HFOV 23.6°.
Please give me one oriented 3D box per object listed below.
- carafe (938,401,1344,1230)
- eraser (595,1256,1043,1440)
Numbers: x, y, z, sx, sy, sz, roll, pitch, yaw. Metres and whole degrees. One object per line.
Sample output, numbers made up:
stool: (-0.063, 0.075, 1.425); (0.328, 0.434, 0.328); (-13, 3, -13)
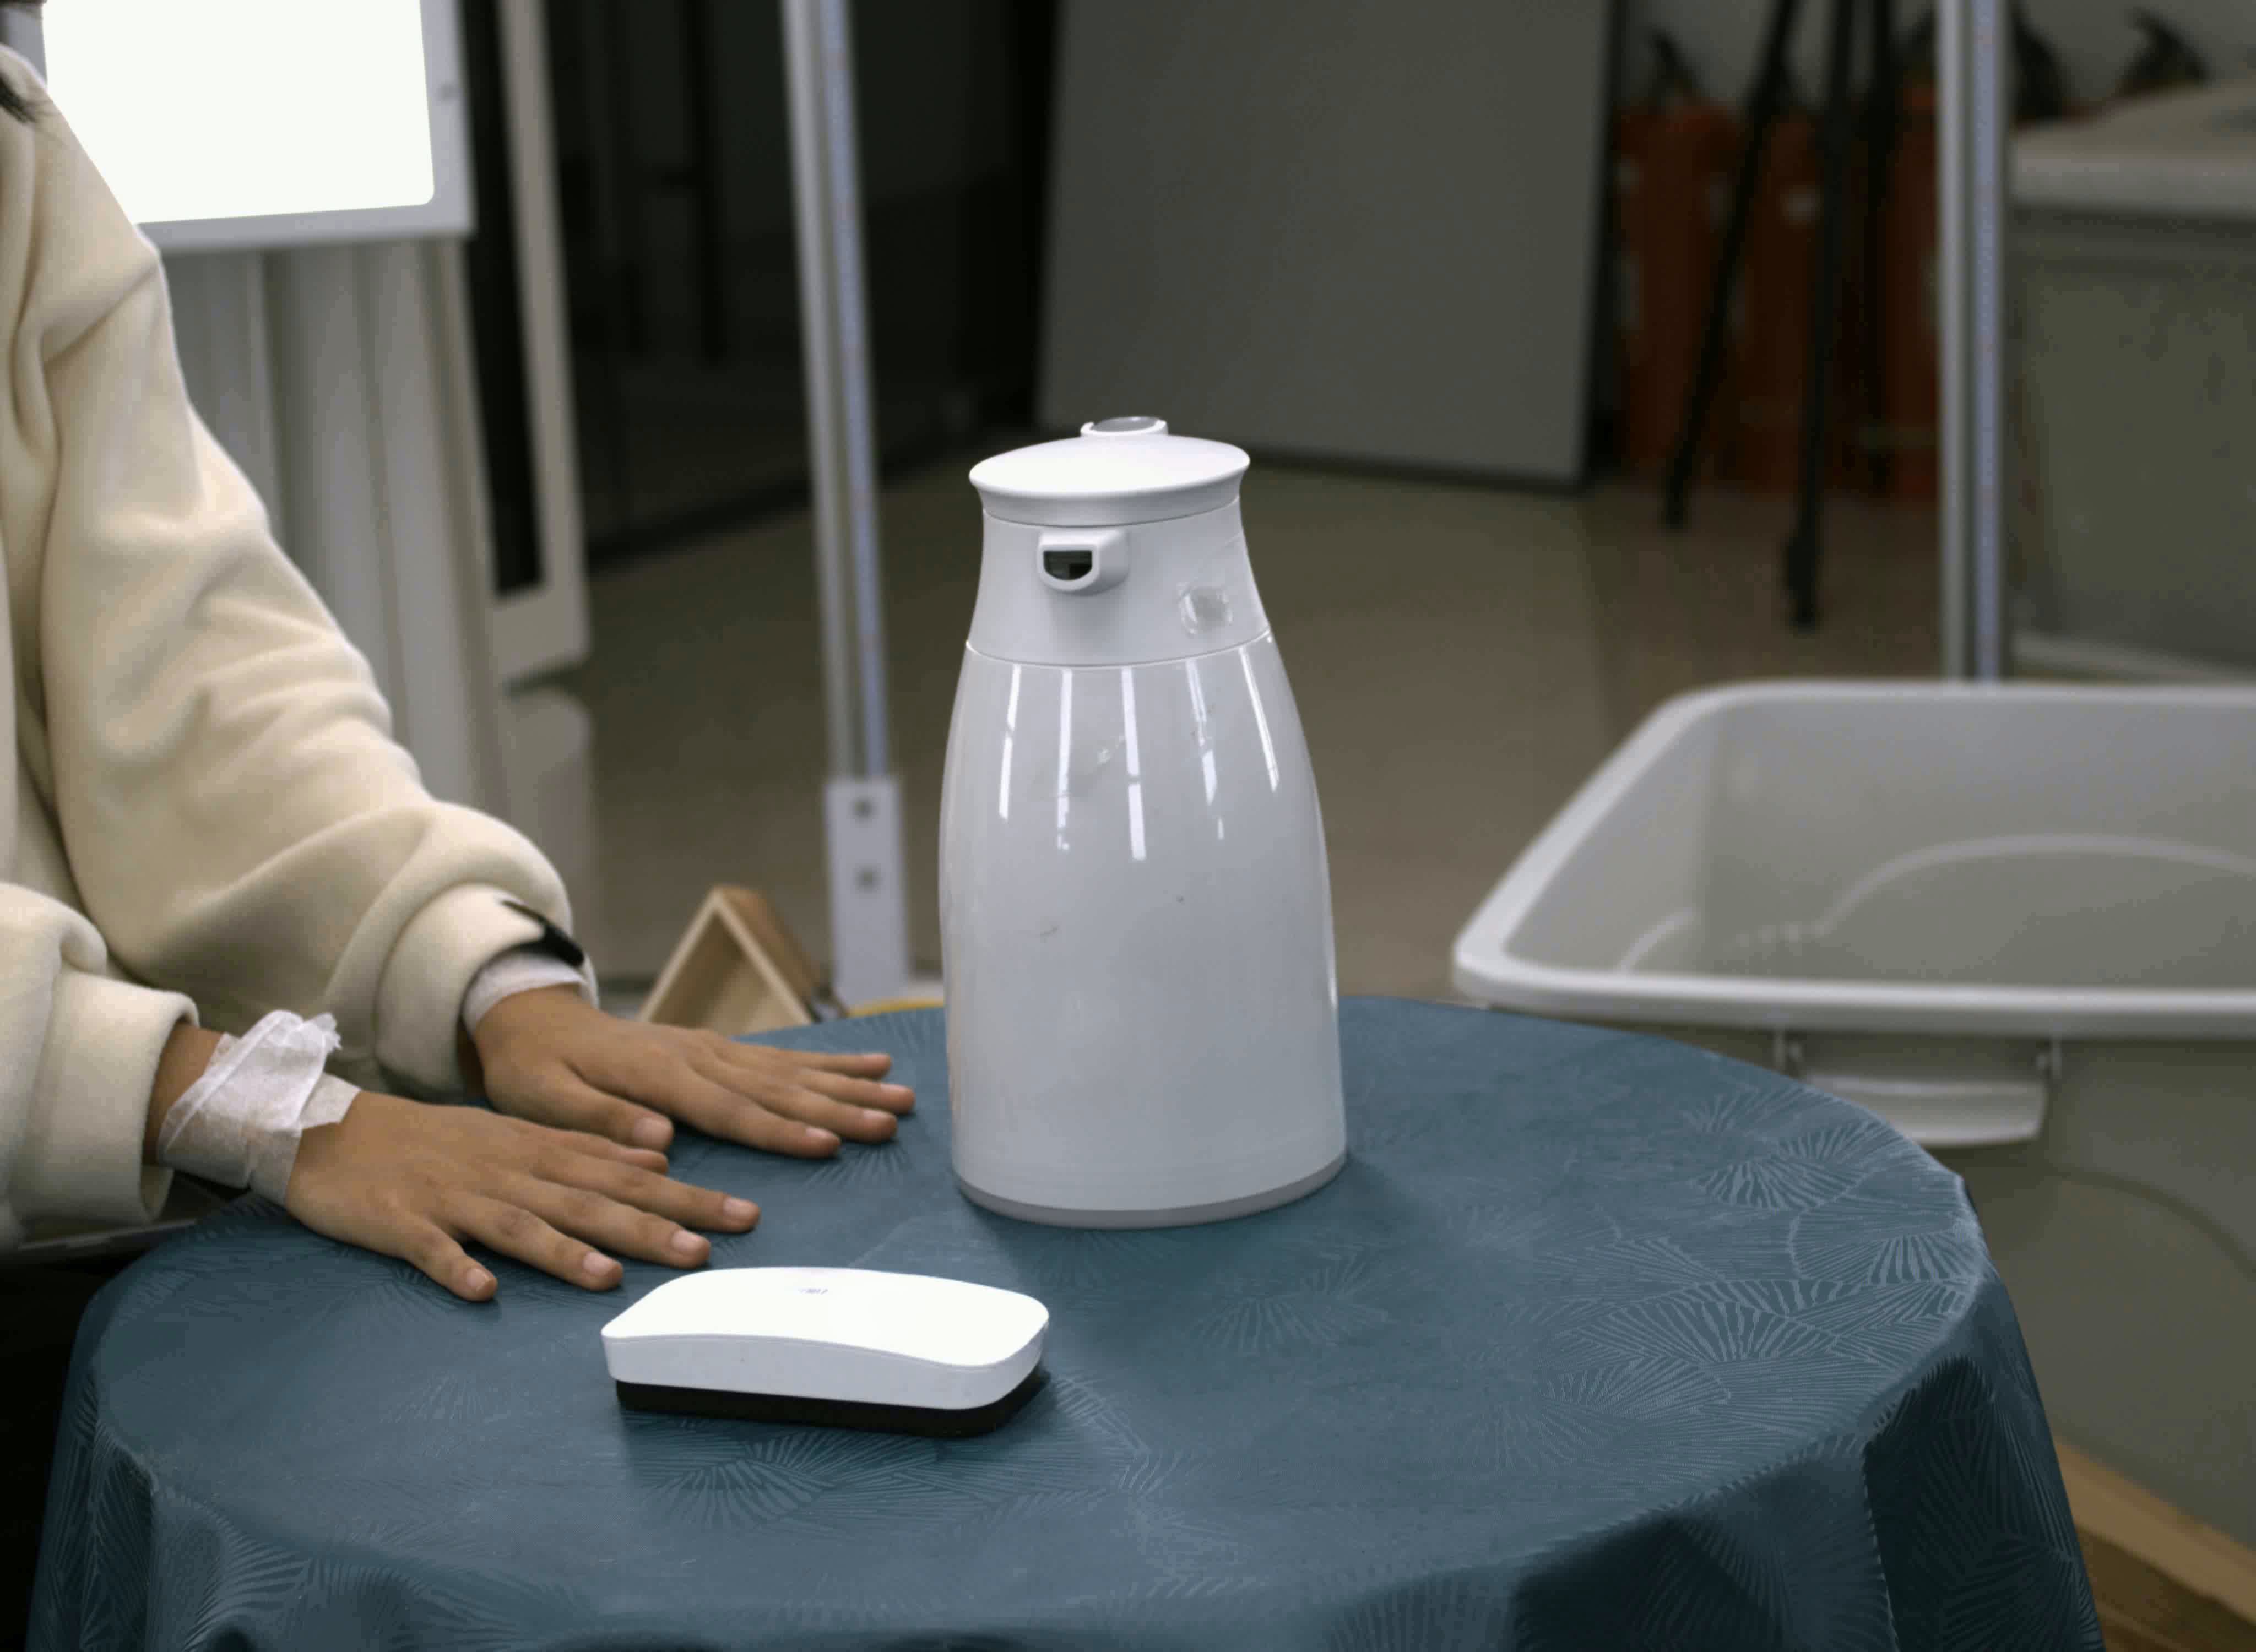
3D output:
carafe: (0.003, -0.011, 1.783); (0.132, 0.251, 0.167); (-1, 13, 13)
eraser: (-0.090, 0.154, 1.597); (0.131, 0.035, 0.062); (2, 13, 24)
